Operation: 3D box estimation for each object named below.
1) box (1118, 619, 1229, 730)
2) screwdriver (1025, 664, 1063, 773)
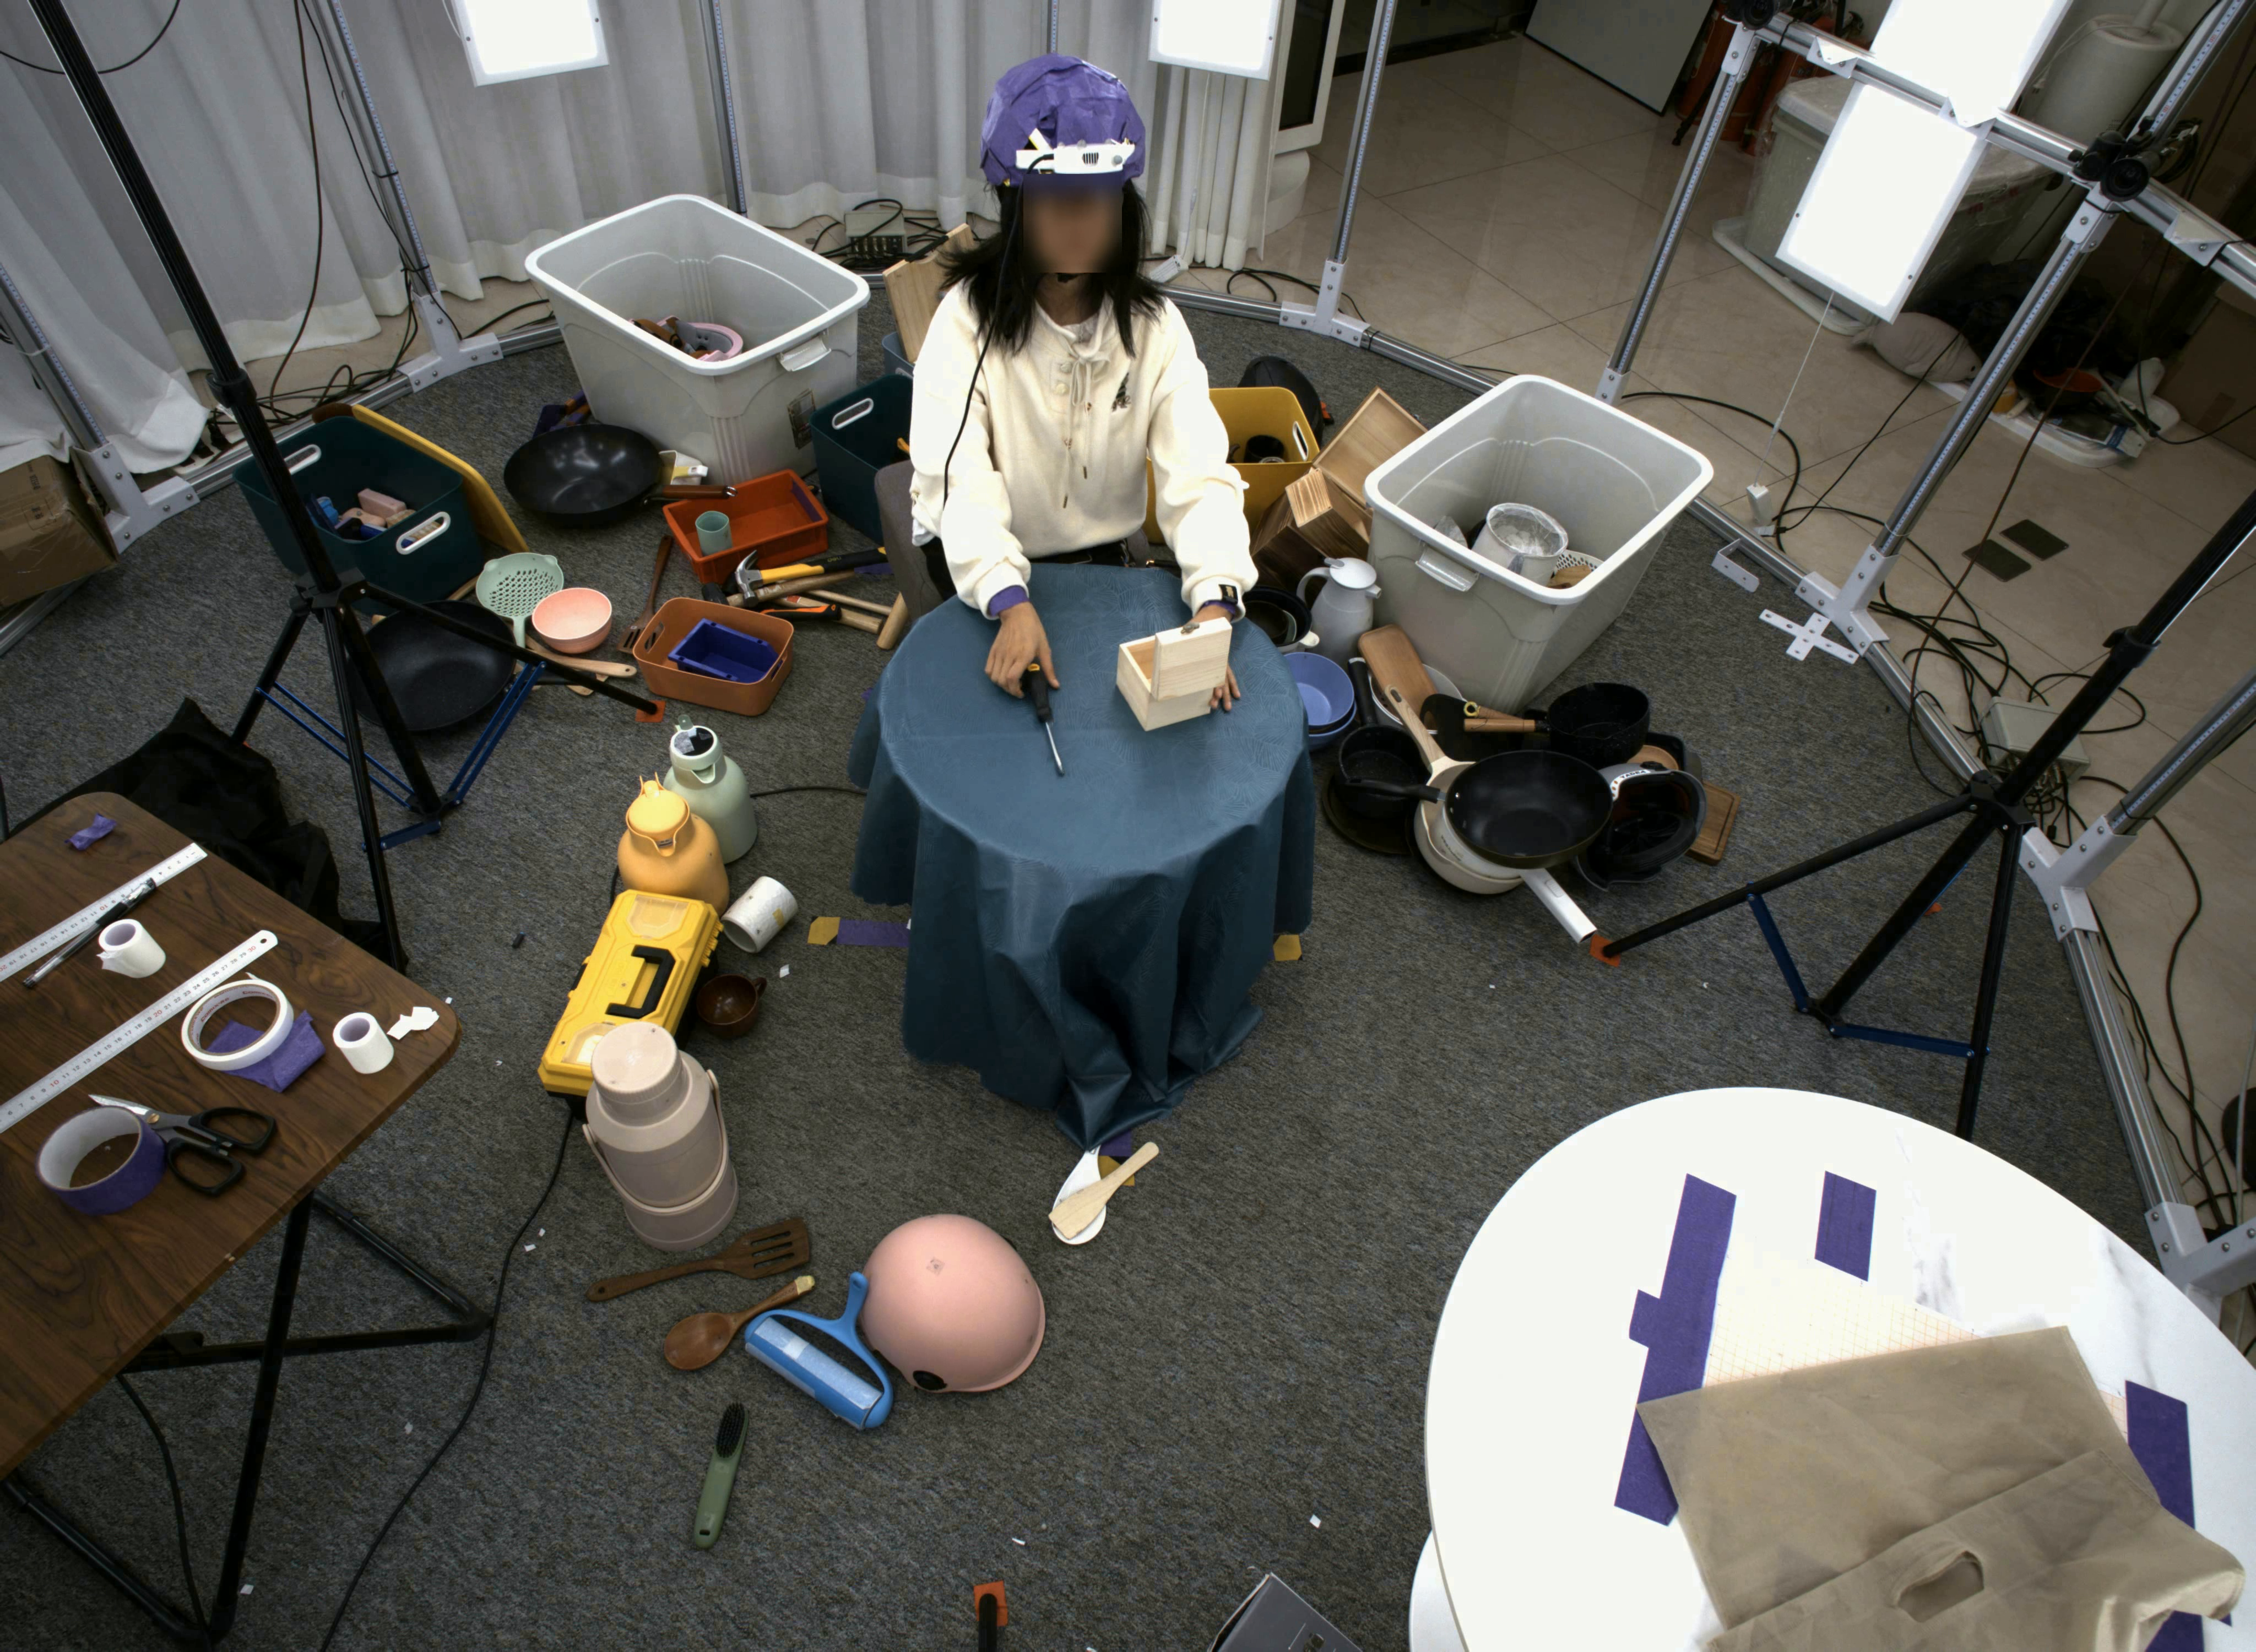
[{"bbox_3d":[0.058,-0.233,1.757,0.103,0.180,0.137,-17,54,-16],"label":"box"},{"bbox_3d":[-0.117,-0.149,1.777,0.031,0.031,0.203,-6,52,-10],"label":"screwdriver"}]
